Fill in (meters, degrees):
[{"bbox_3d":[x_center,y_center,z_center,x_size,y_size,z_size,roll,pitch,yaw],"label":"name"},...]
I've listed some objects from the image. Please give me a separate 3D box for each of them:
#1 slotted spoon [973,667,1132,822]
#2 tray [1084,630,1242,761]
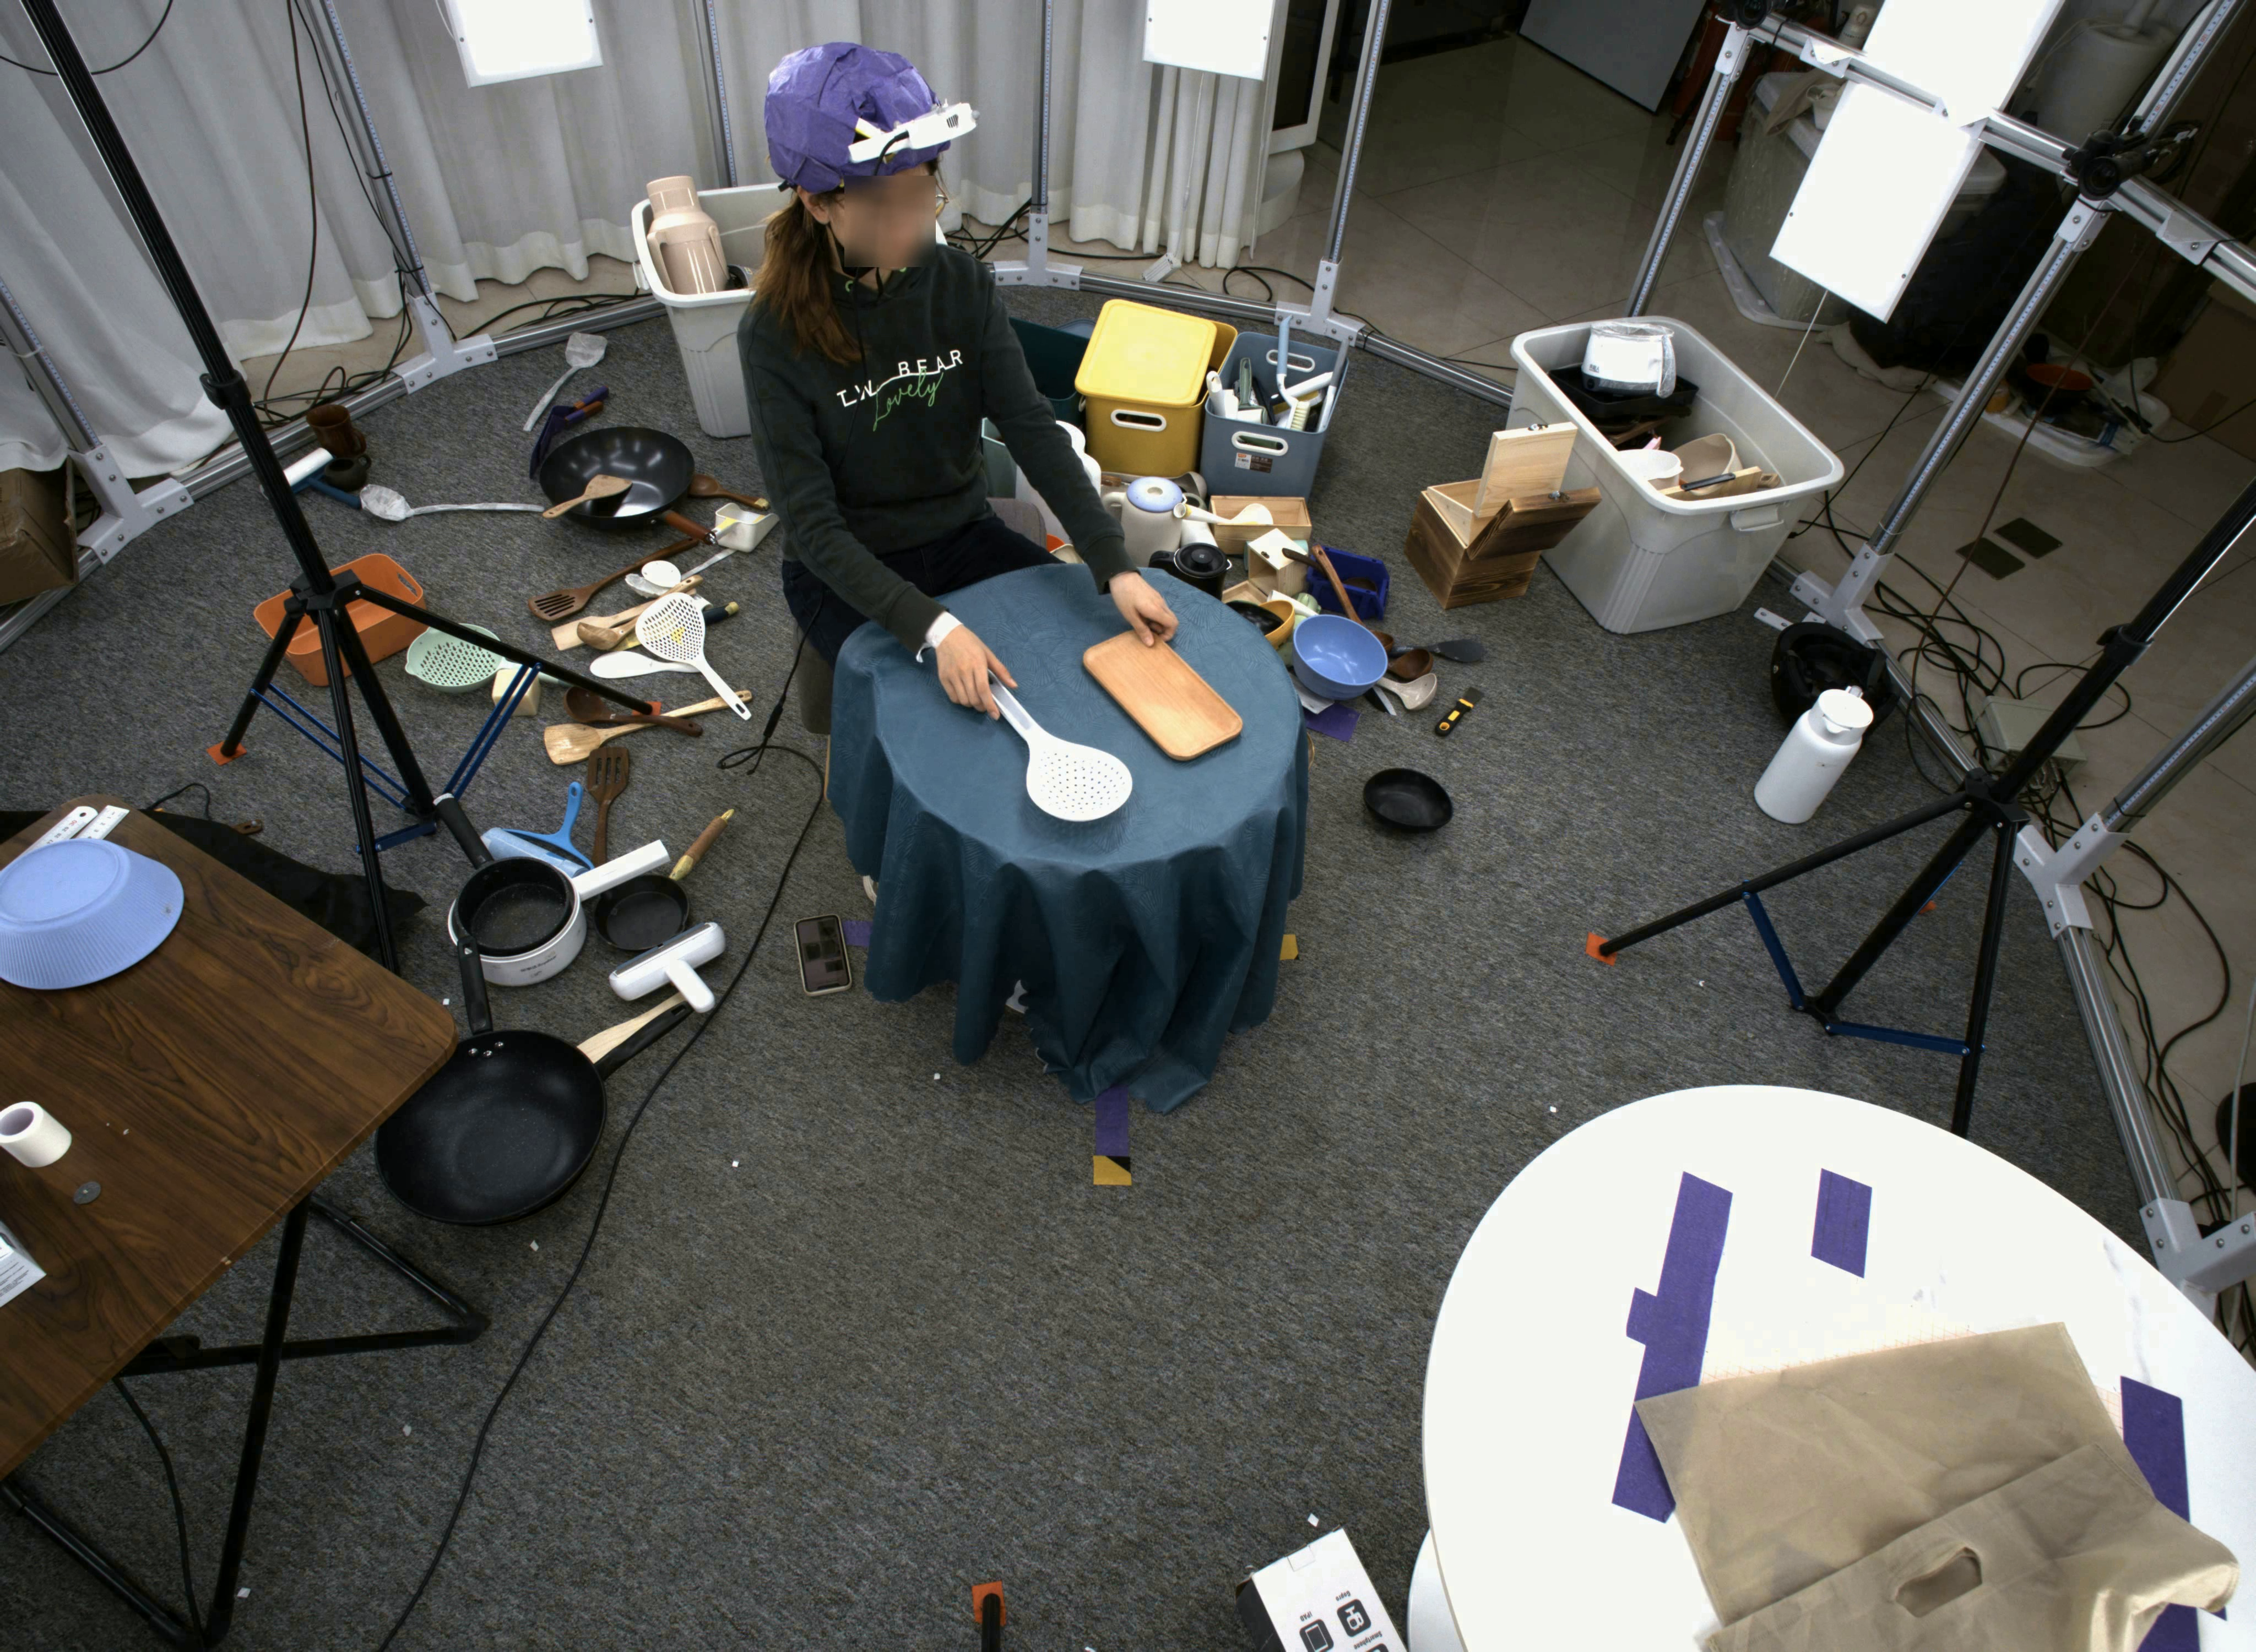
[{"bbox_3d":[-0.121,-0.116,1.748,0.136,0.044,0.357,-22,53,-24],"label":"slotted spoon"},{"bbox_3d":[0.048,-0.190,1.842,0.131,0.022,0.255,-24,54,-25],"label":"tray"}]
